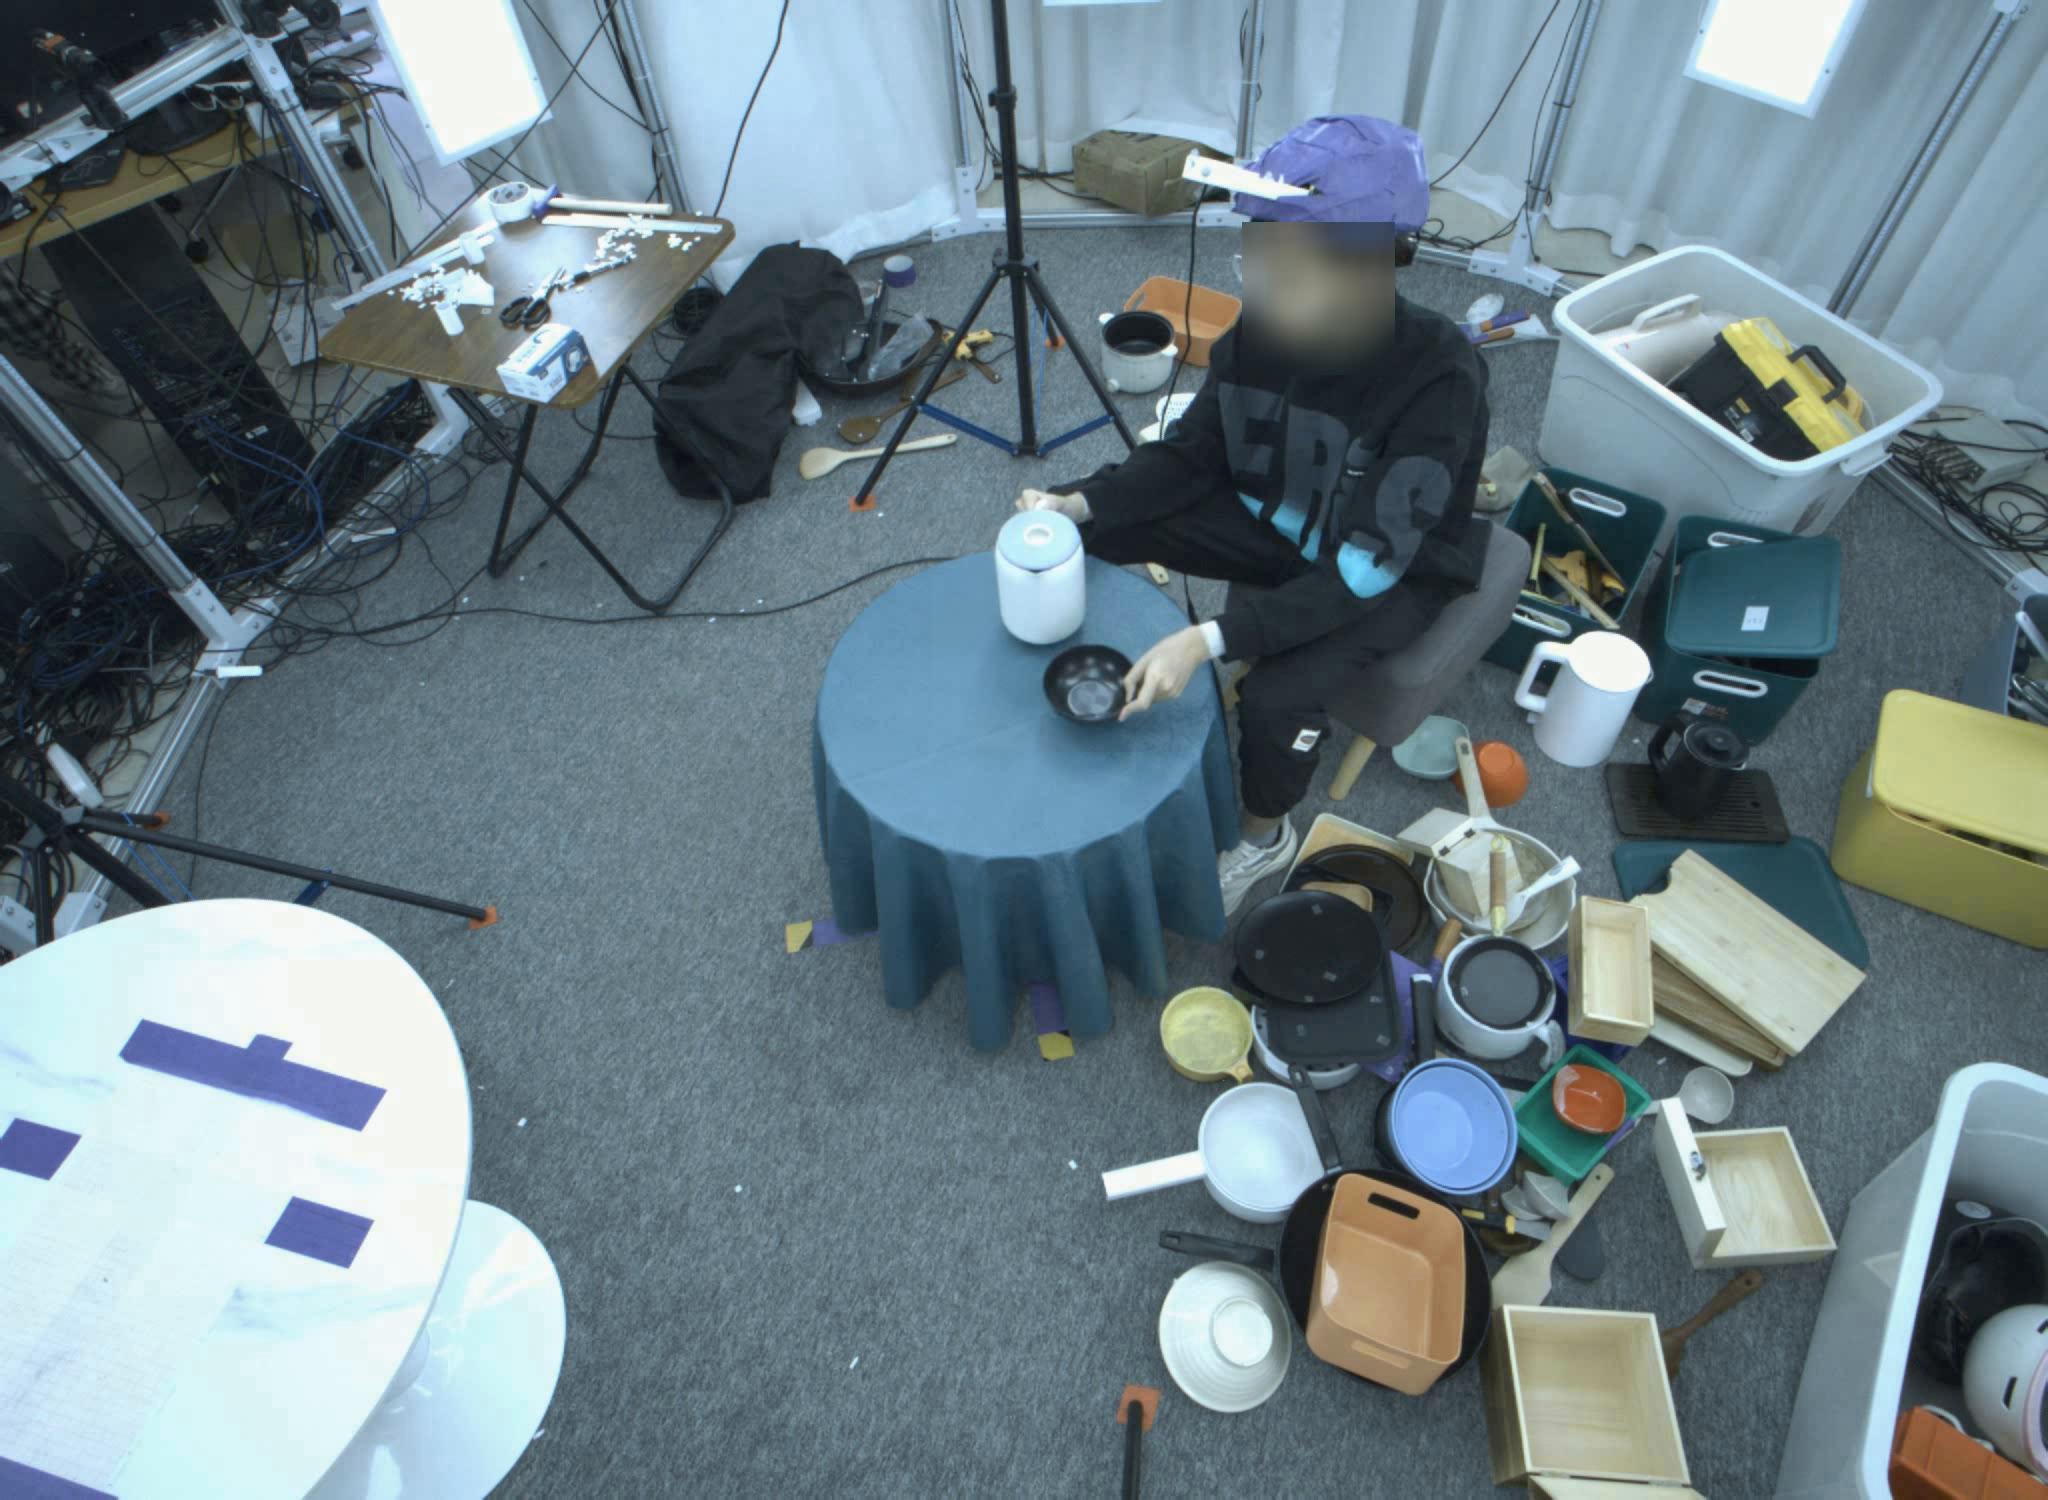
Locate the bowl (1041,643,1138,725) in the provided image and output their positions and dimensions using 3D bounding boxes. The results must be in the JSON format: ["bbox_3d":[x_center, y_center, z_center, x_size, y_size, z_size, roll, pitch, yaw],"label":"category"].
[{"bbox_3d":[0.095,-0.086,1.779,0.140,0.050,0.138,0,56,1],"label":"bowl"}]

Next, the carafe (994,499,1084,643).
[{"bbox_3d":[0.024,-0.280,1.846,0.132,0.184,0.189,0,54,2],"label":"carafe"}]
